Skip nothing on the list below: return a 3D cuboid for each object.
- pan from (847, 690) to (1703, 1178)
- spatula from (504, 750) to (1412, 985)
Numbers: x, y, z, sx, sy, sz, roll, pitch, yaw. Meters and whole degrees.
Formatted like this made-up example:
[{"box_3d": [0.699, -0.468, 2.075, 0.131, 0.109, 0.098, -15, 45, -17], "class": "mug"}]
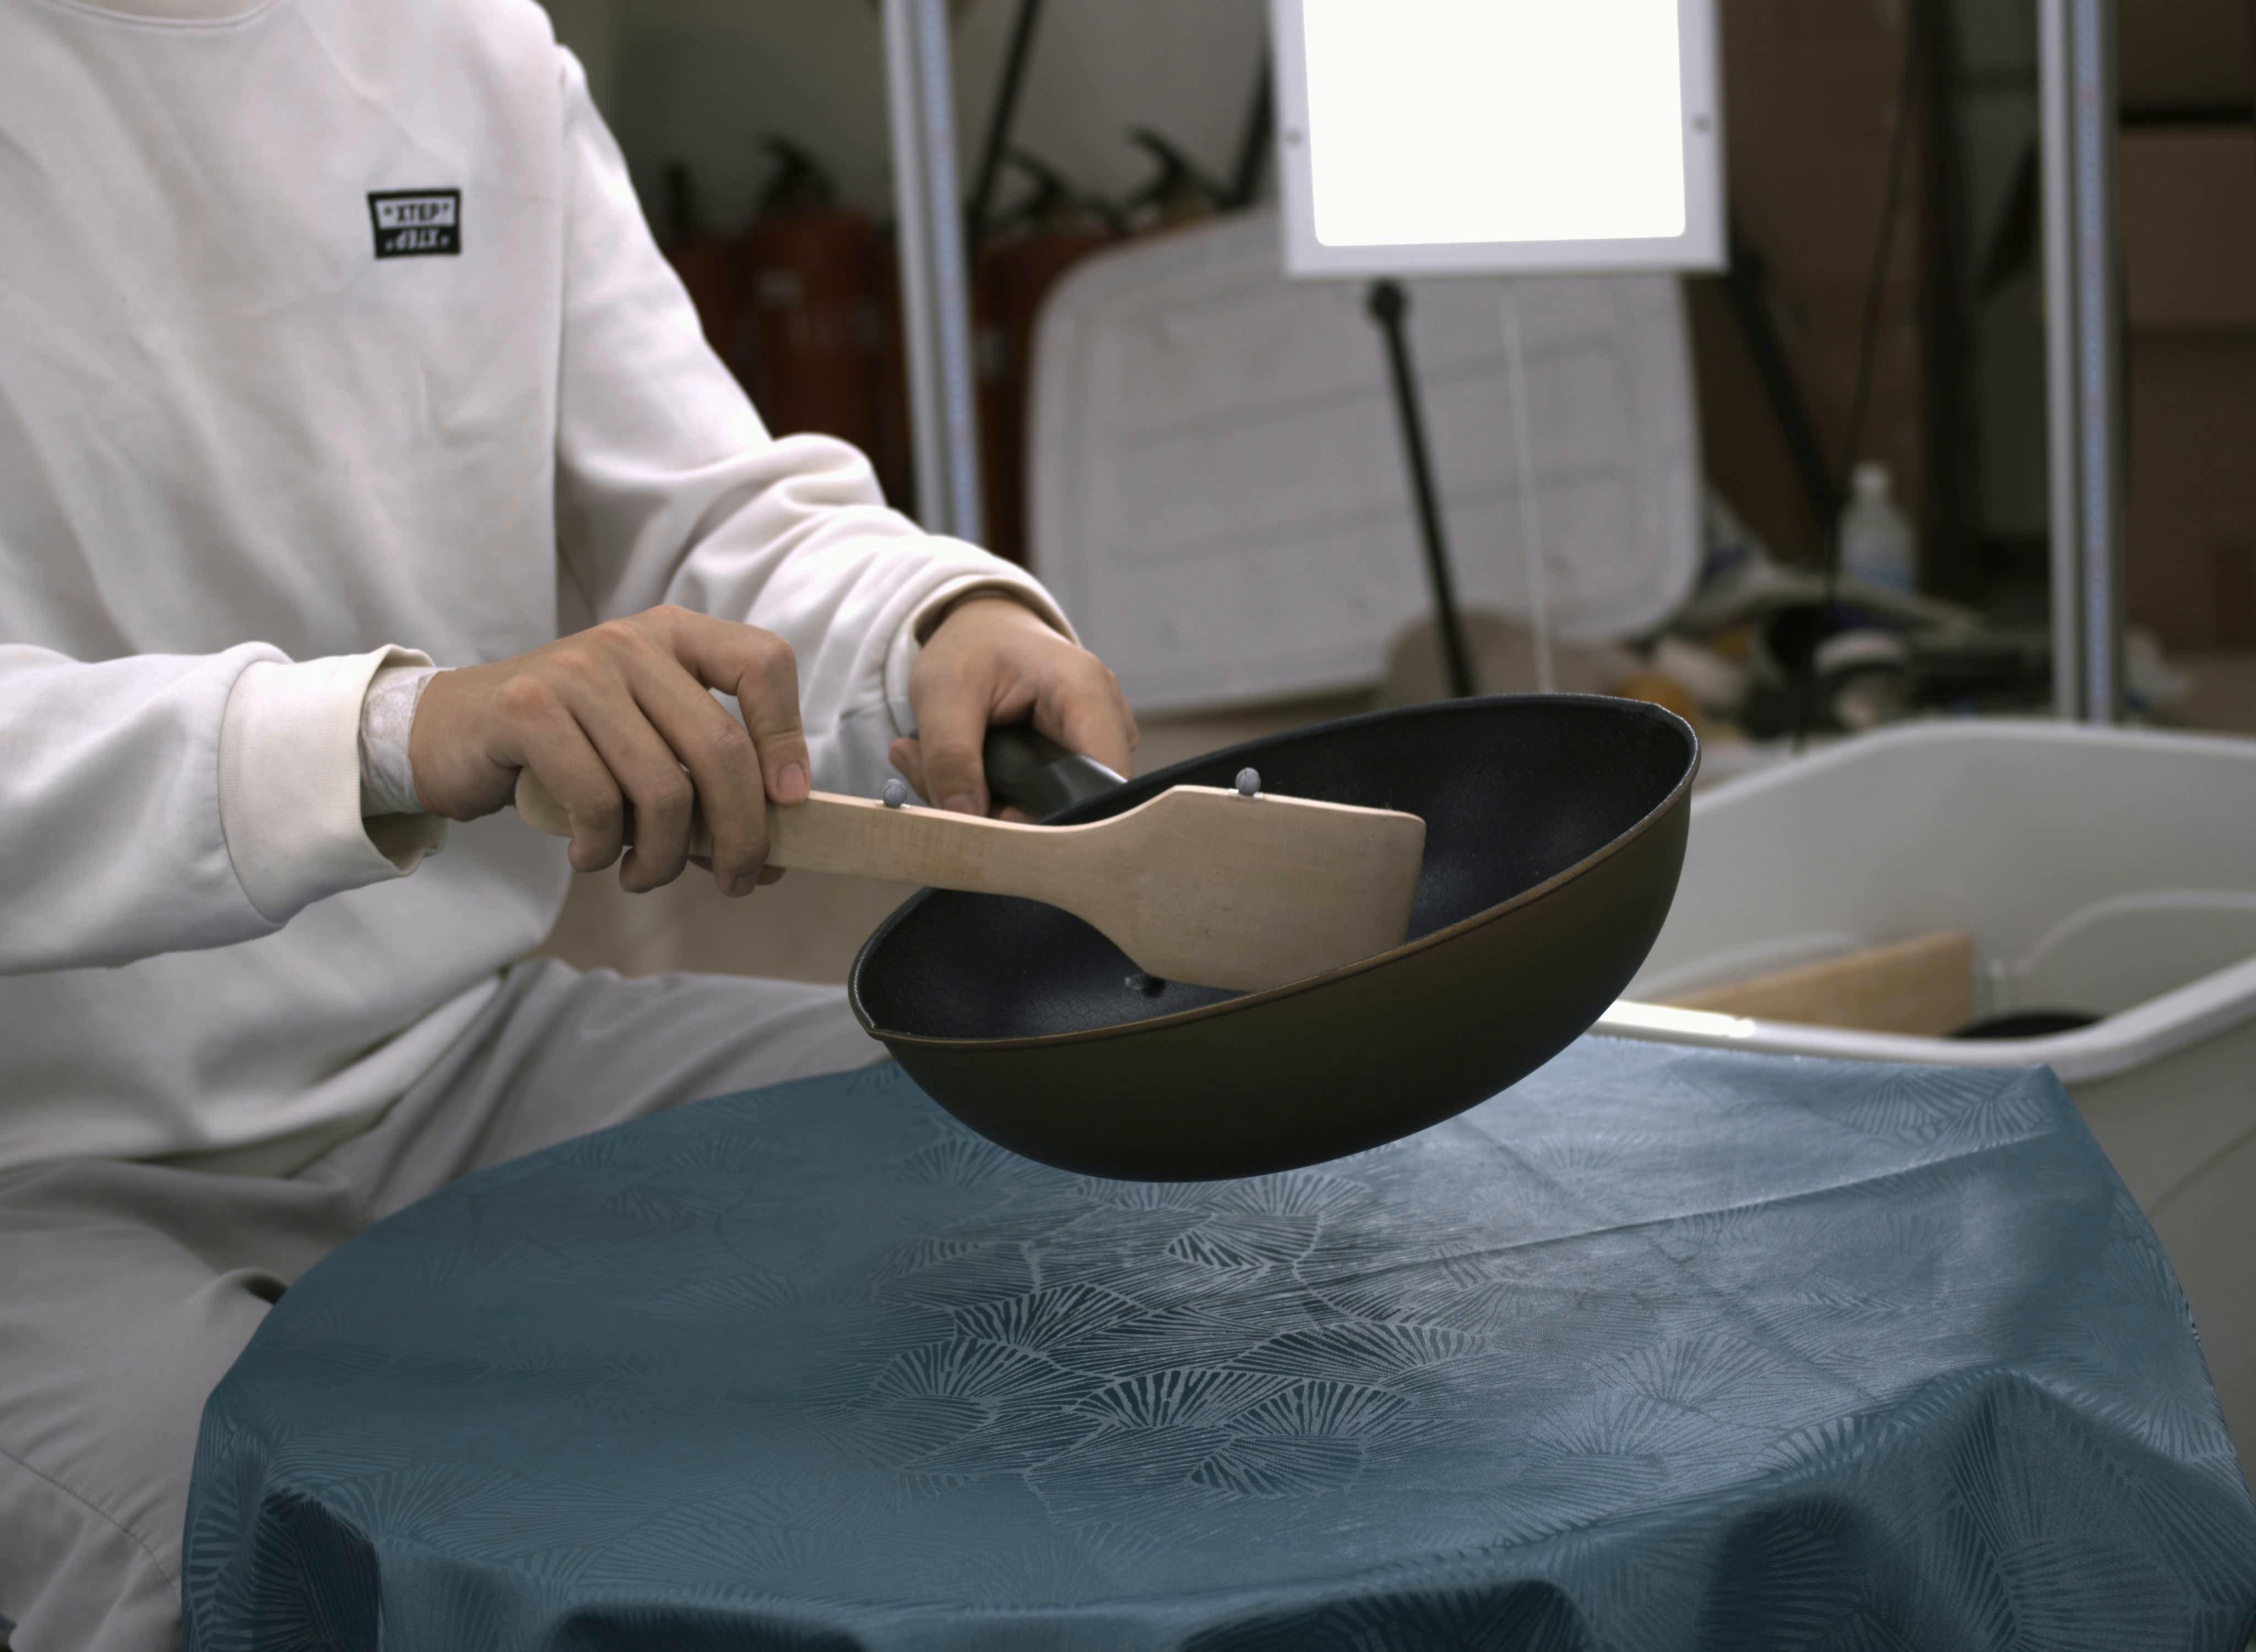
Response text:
[{"box_3d": [0.024, 0.030, 1.838, 0.284, 0.087, 0.469, -22, 15, -16], "class": "pan"}, {"box_3d": [-0.055, 0.007, 1.771, 0.291, 0.073, 0.010, 8, 26, -2], "class": "spatula"}]
